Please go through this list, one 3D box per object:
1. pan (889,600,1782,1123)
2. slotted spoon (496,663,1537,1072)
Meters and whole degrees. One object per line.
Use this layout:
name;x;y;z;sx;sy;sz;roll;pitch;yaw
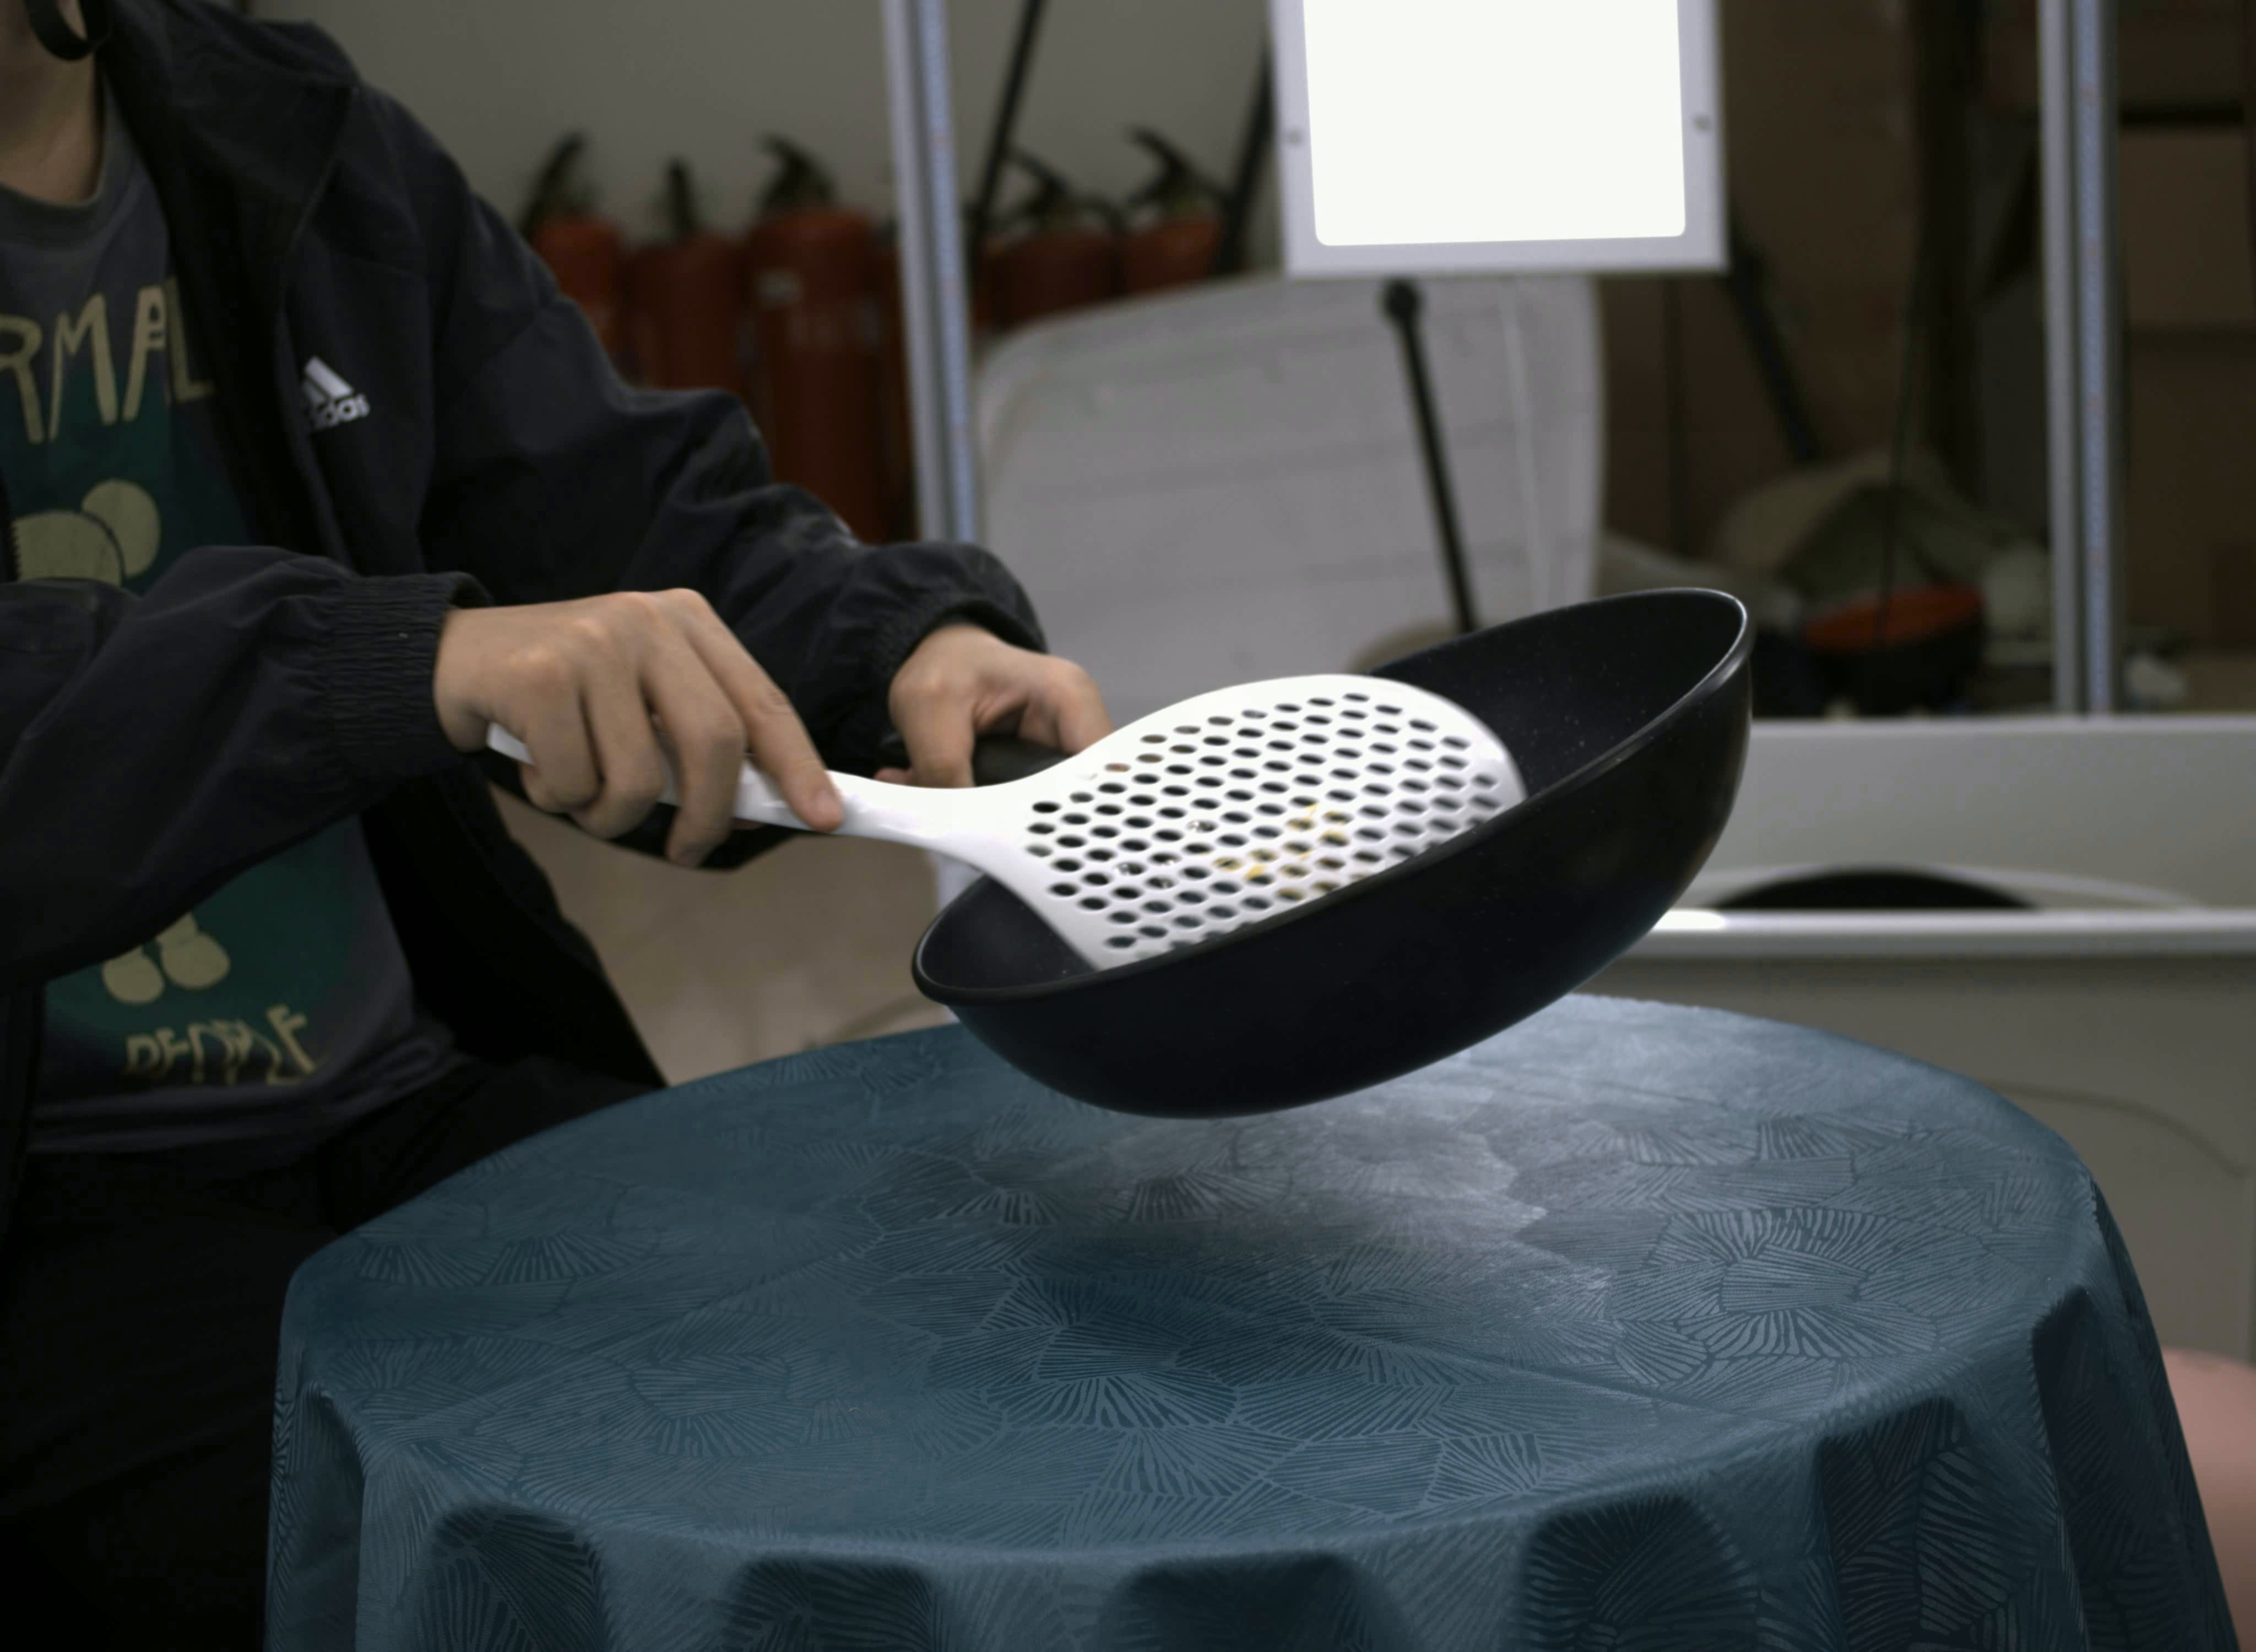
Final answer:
pan;0.045;0.014;1.927;0.304;0.111;0.486;-28;12;-24
slotted spoon;-0.036;-0.004;1.814;0.349;0.137;0.050;7;-9;10
